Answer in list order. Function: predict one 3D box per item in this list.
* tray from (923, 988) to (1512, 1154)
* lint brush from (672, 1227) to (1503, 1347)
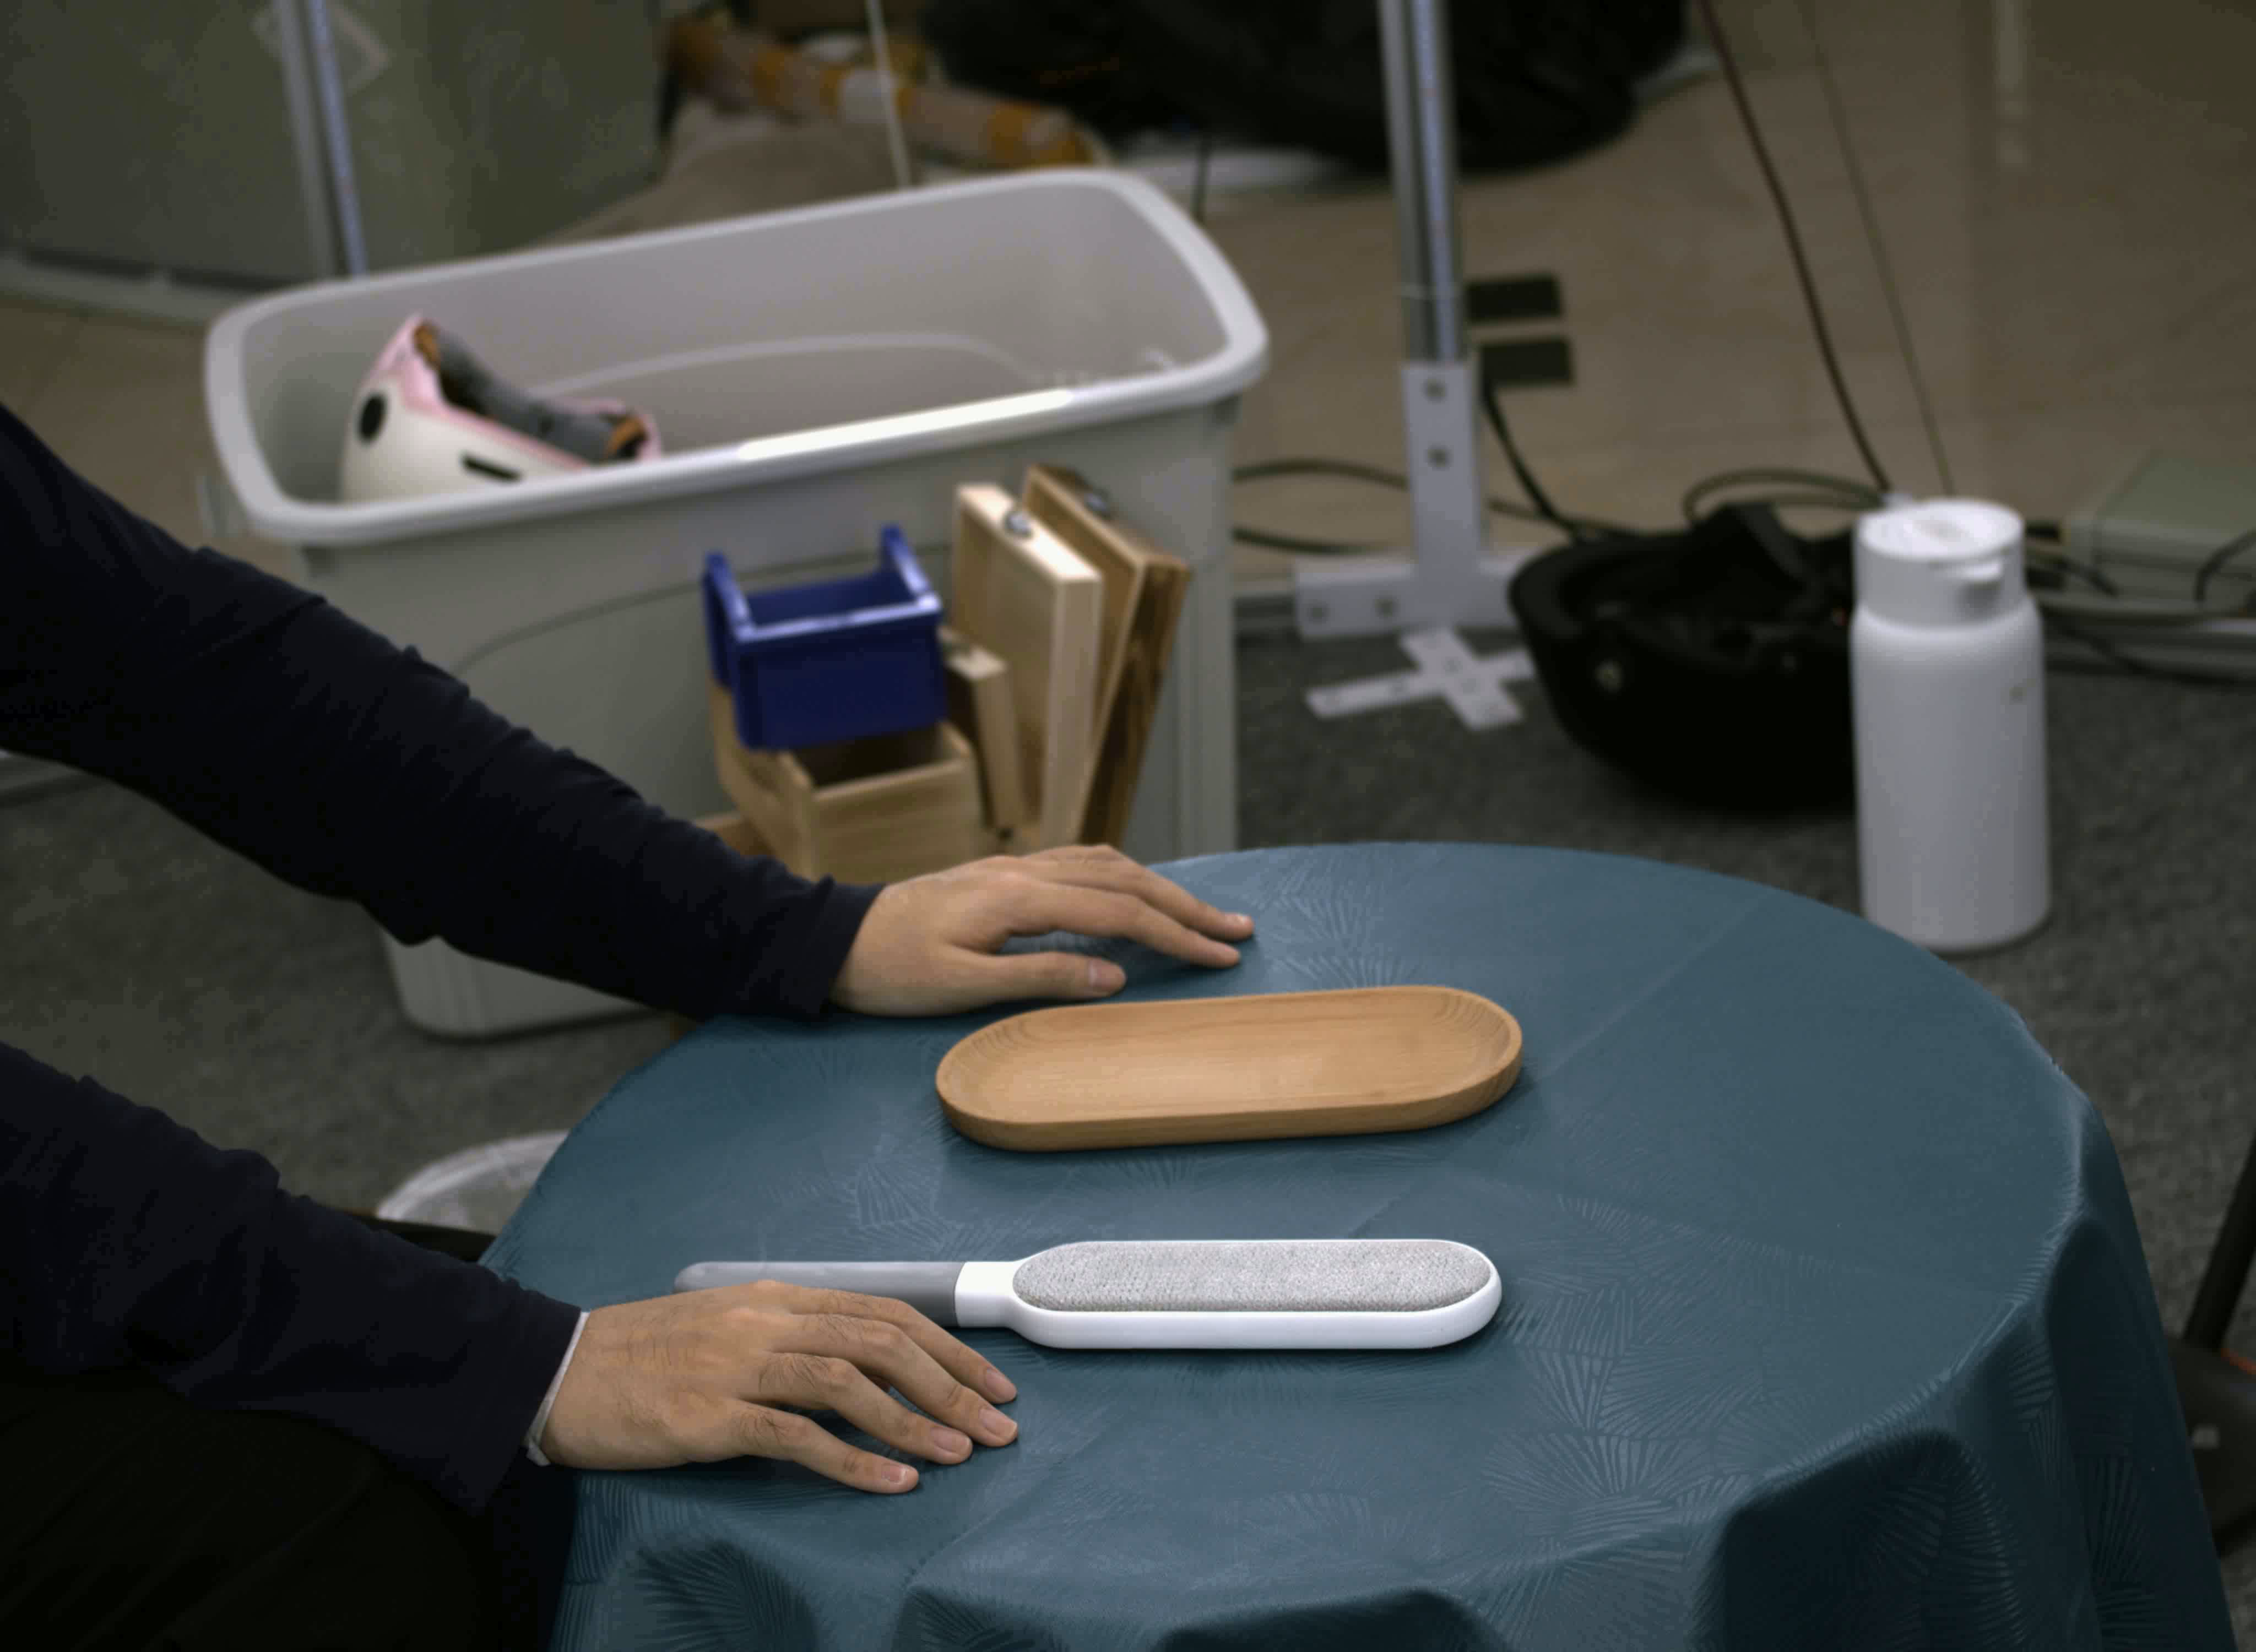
[{"bbox_3d":[0.035,0.096,2.216,0.231,0.020,0.100,-5,23,6],"label":"tray"},{"bbox_3d":[-0.018,0.167,2.064,0.308,0.021,0.059,-1,31,13],"label":"lint brush"}]
